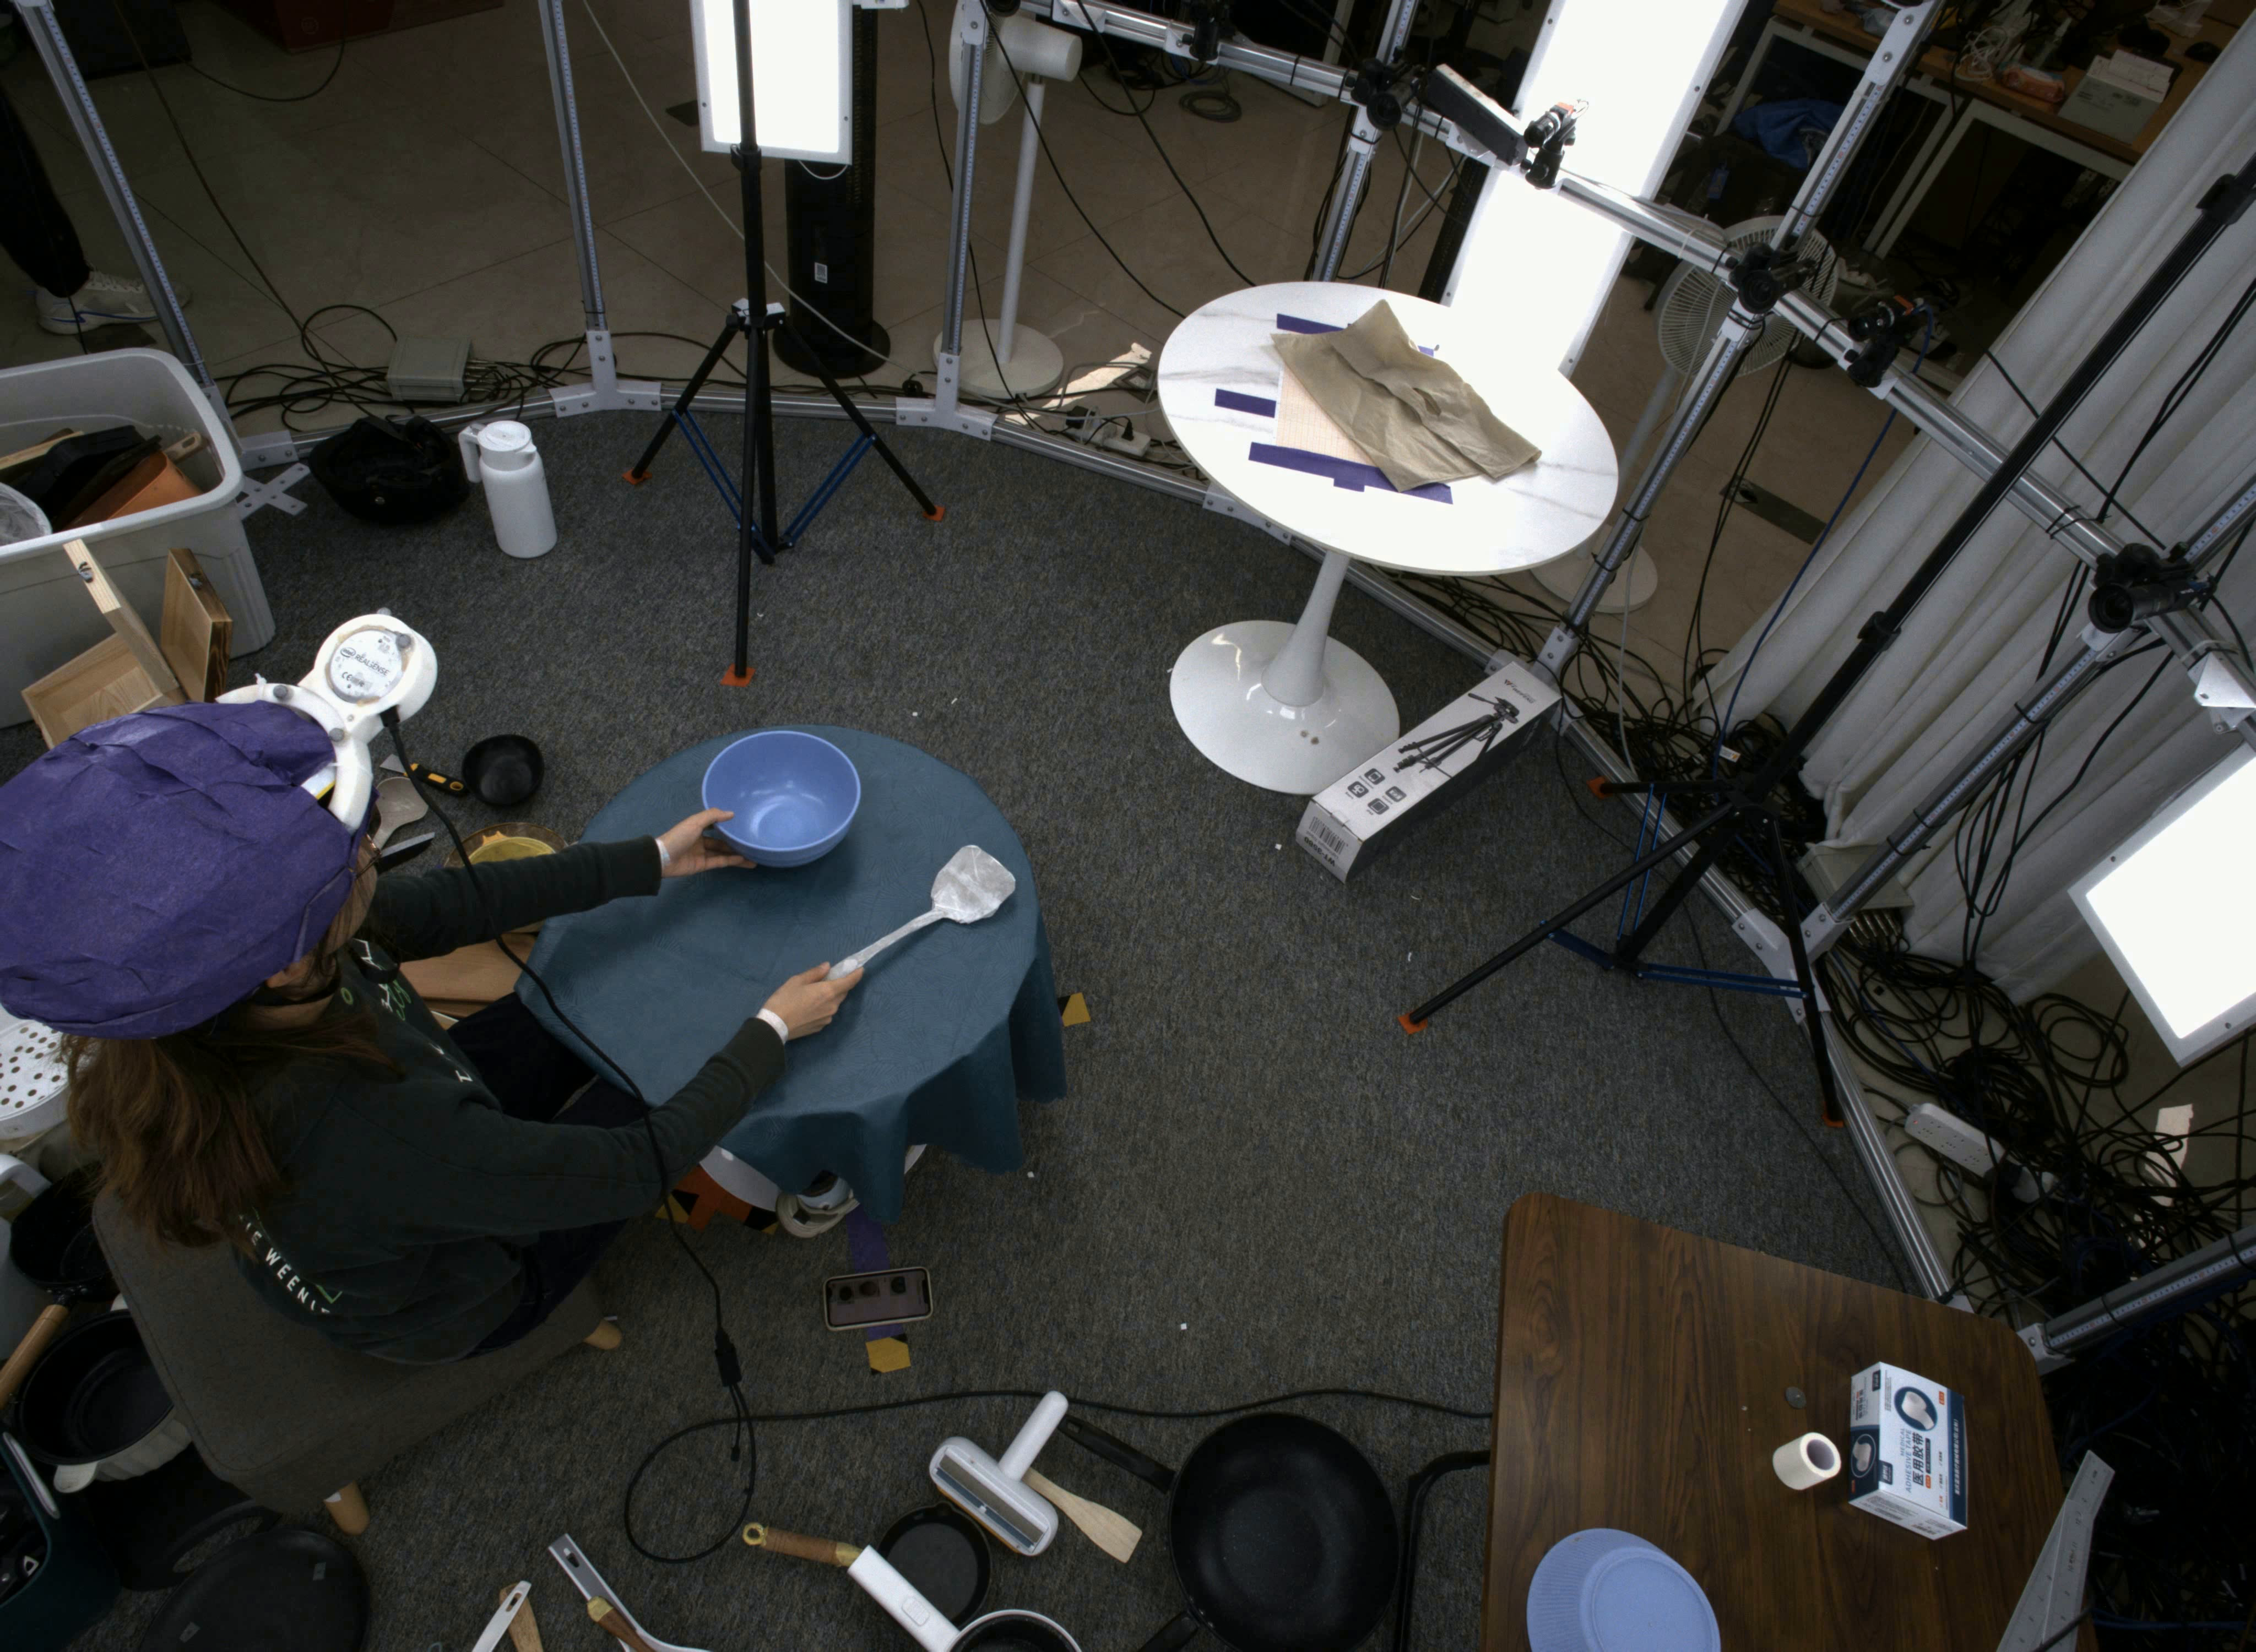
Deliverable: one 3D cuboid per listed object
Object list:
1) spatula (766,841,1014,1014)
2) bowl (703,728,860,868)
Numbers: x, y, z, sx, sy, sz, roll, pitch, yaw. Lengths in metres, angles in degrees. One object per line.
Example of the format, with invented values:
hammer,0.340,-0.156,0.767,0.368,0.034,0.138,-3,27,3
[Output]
spatula,-0.296,0.132,1.625,0.096,0.045,0.366,42,49,18
bowl,-0.447,-0.021,1.678,0.196,0.097,0.193,9,53,-10
